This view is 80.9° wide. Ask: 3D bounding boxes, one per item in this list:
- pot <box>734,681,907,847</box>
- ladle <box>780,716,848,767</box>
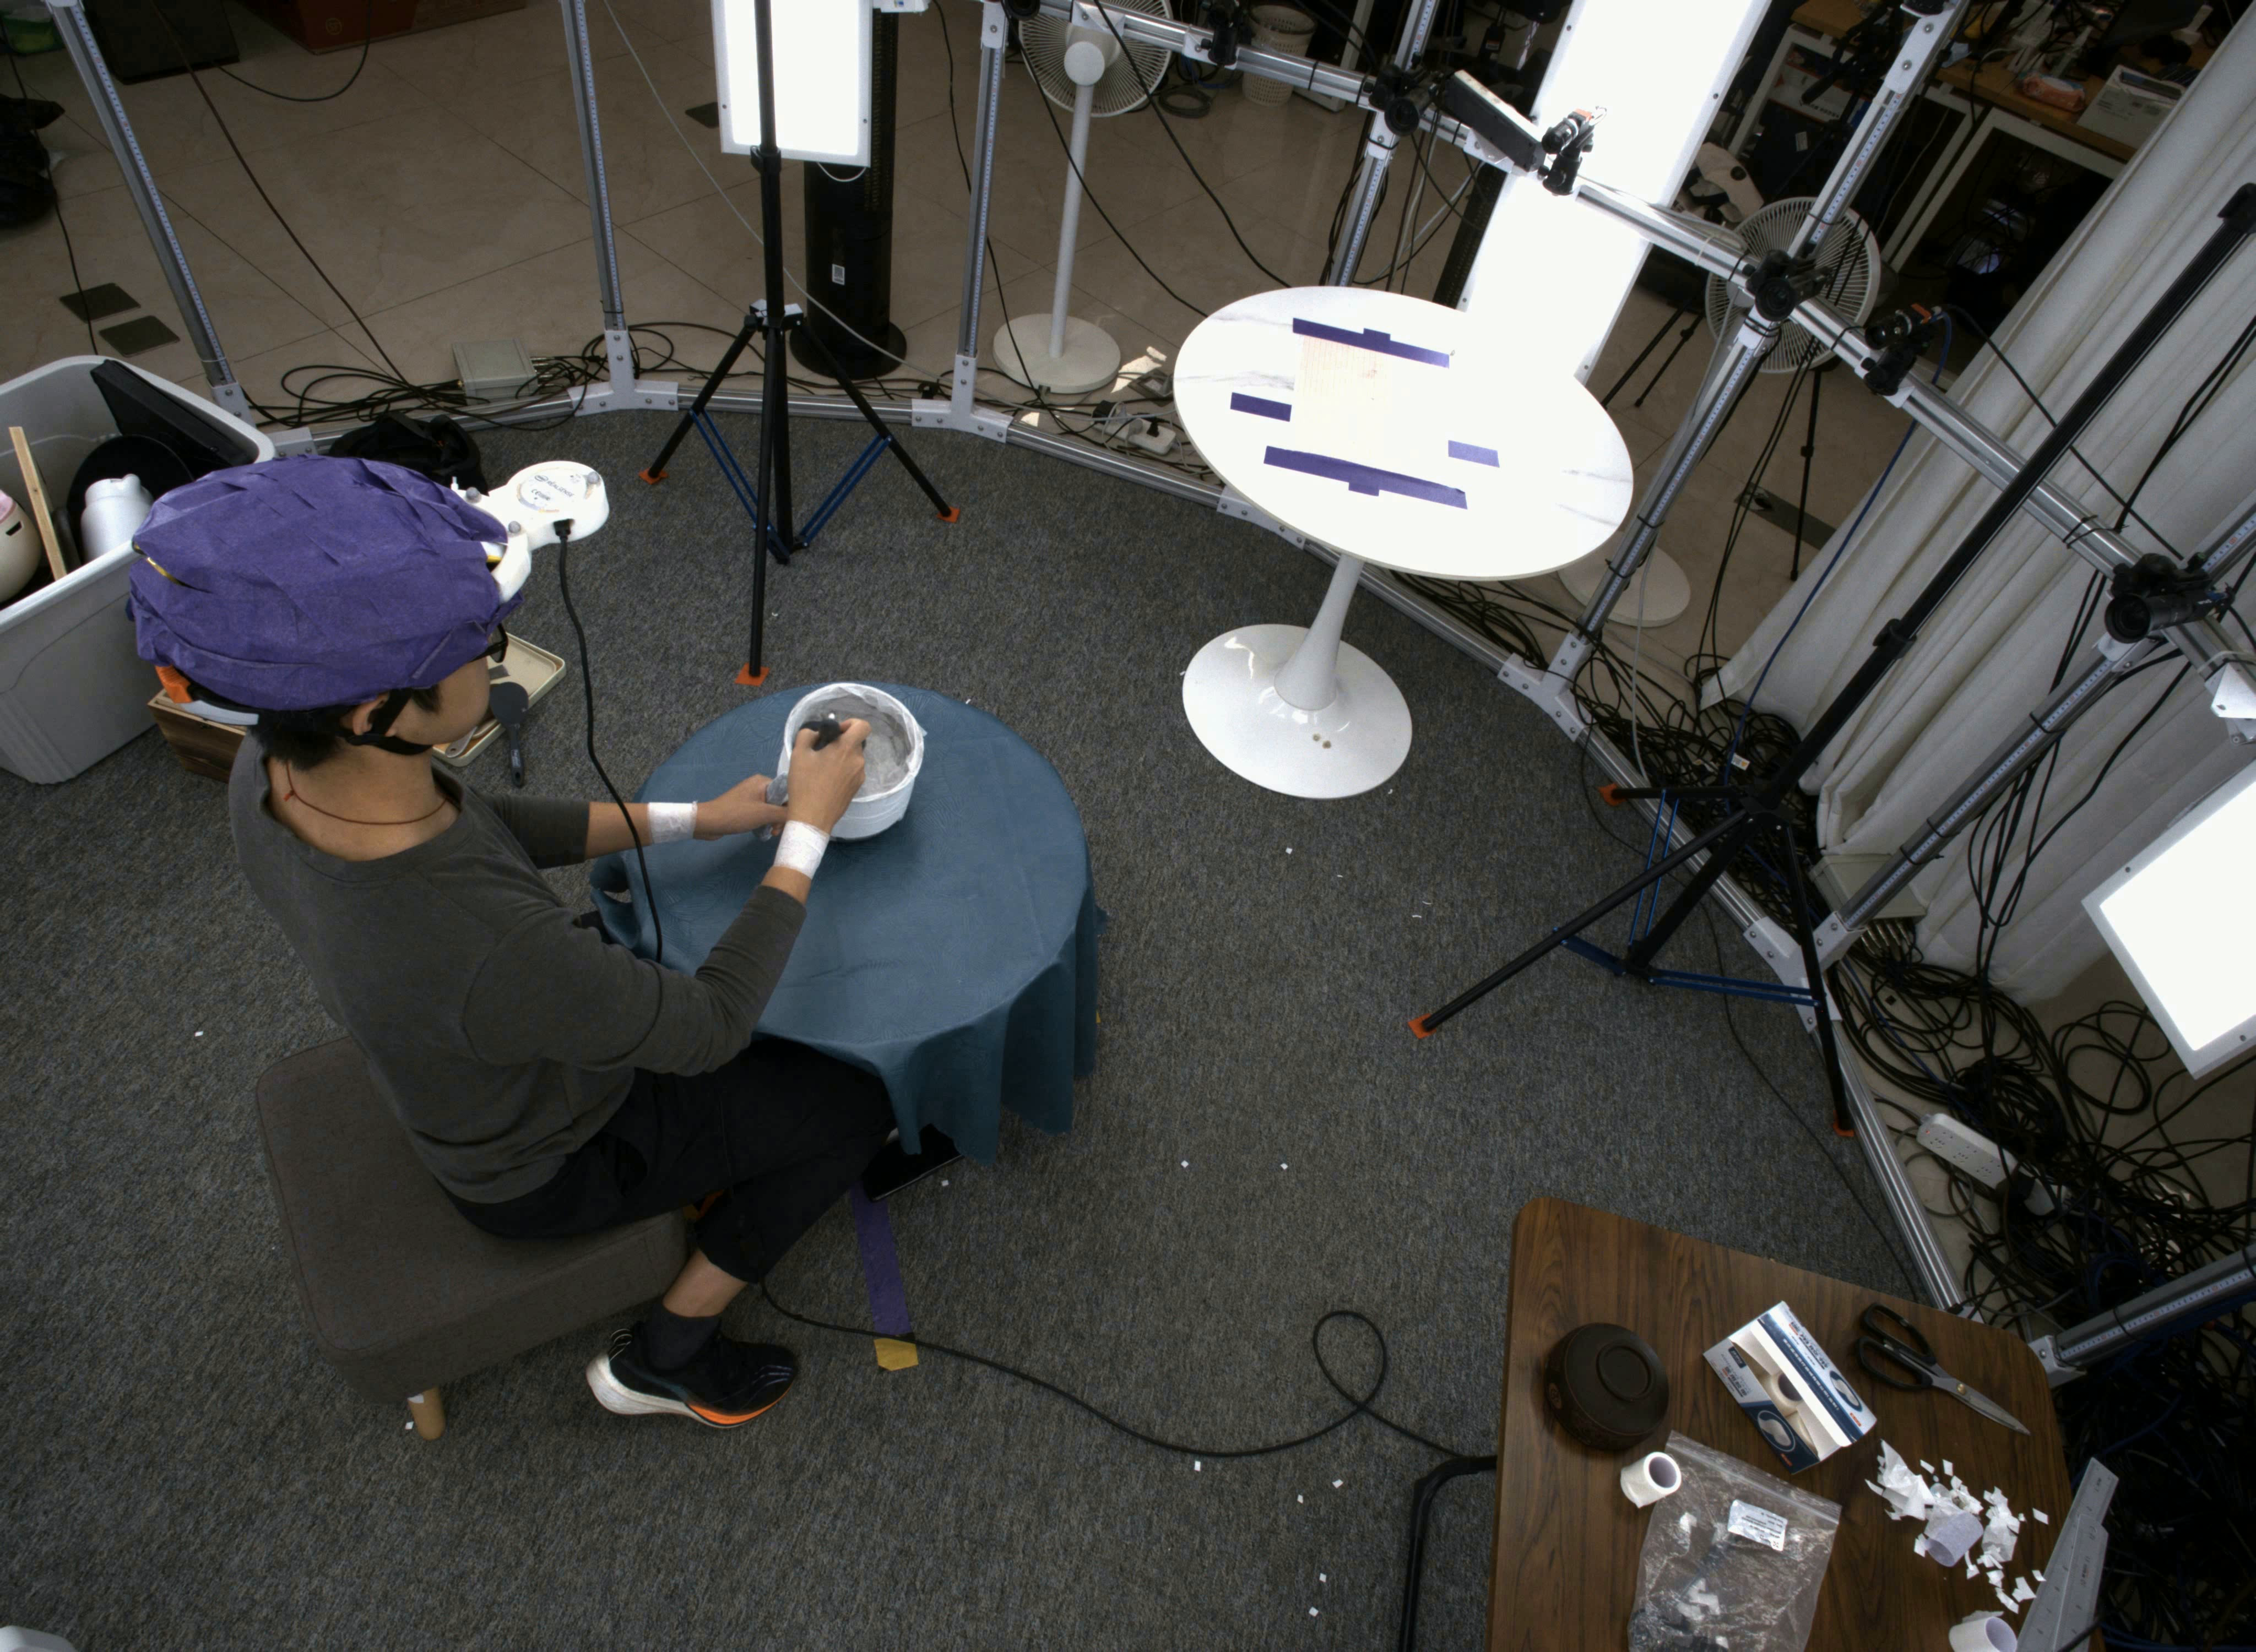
[{"bbox_3d":[-0.406,-0.064,1.687,0.234,0.138,0.177,-36,78,-33],"label":"pot"},{"bbox_3d":[-0.375,-0.119,1.541,0.086,0.311,0.064,4,83,-13],"label":"ladle"}]
